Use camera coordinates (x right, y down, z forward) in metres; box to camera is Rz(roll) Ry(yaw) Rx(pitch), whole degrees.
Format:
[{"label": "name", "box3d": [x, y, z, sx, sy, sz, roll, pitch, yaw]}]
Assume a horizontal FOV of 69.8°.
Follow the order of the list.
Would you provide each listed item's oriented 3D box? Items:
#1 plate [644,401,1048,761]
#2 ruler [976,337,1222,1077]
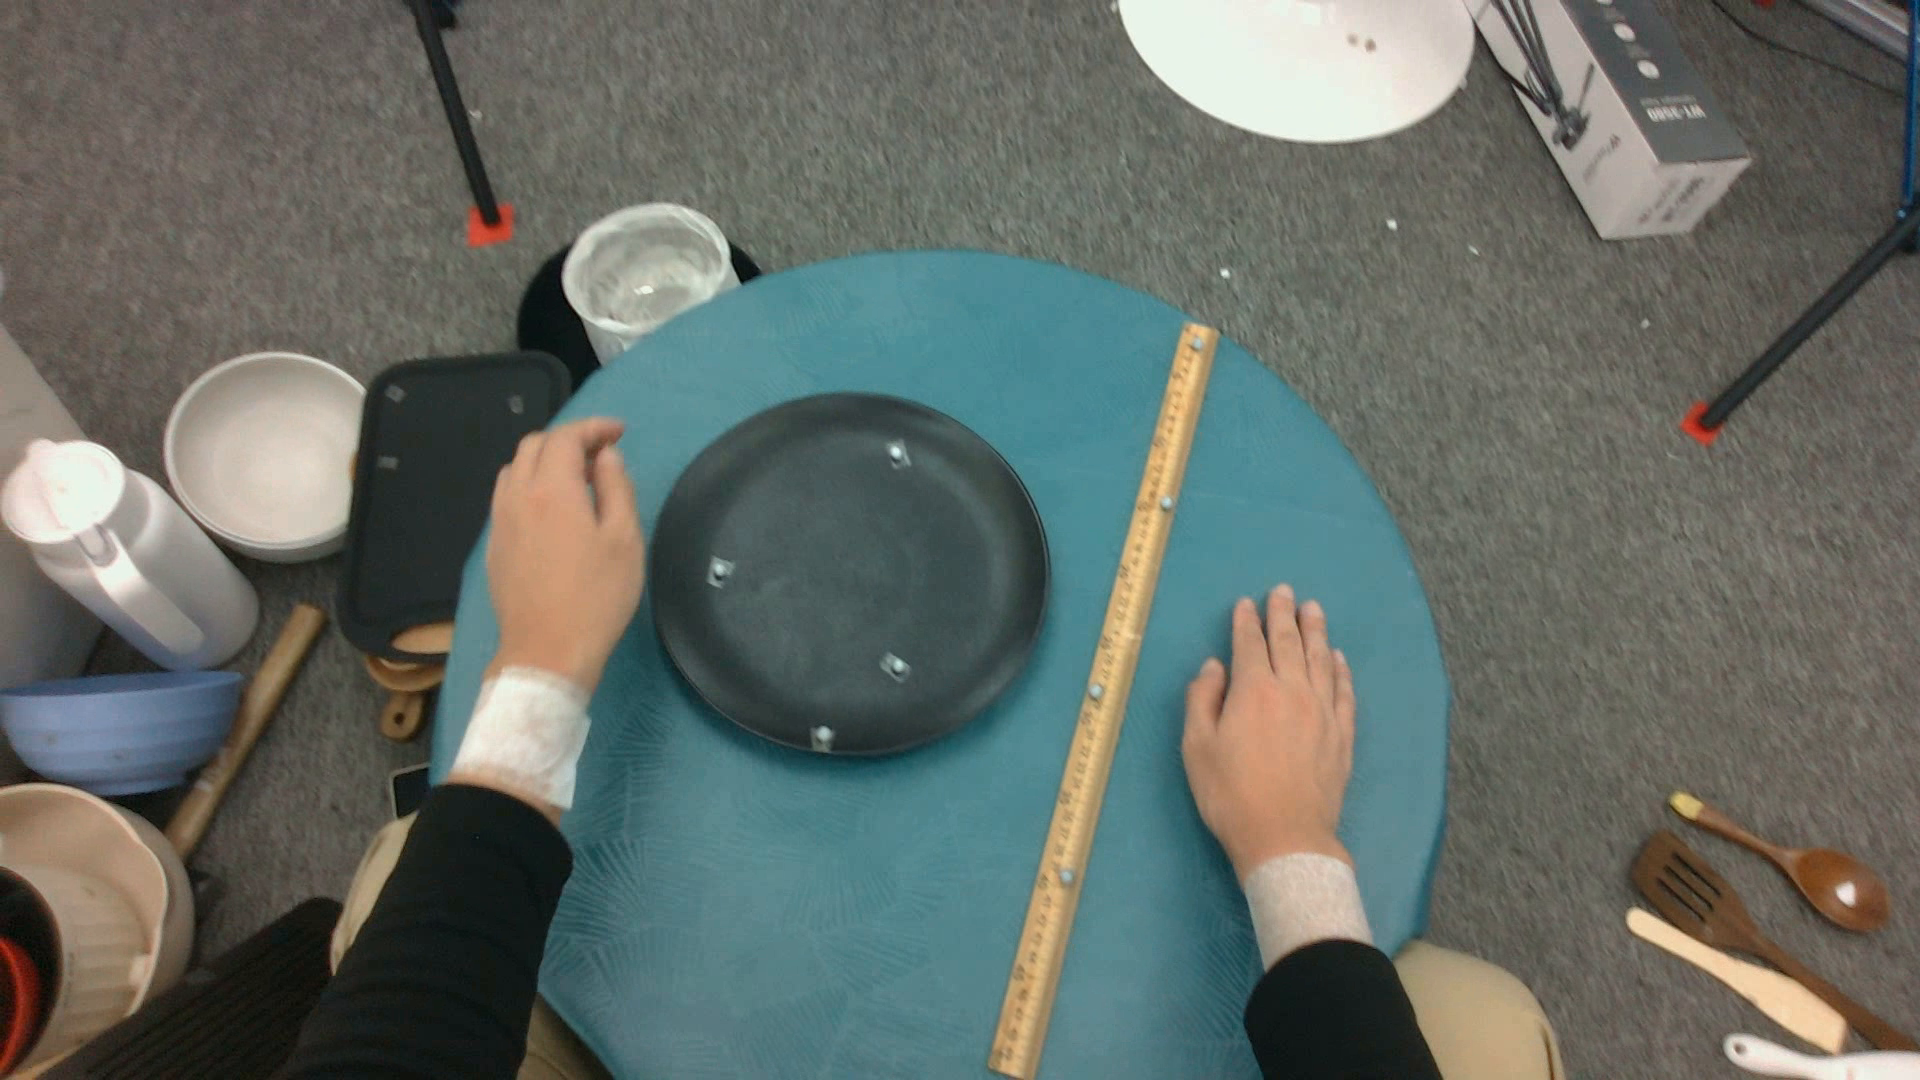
[{"label": "plate", "box3d": [-0.068, 0.021, 0.841, 0.244, 0.023, 0.245, 2, 62, -3]}, {"label": "ruler", "box3d": [0.094, 0.069, 0.837, 0.027, 0.006, 0.502, 16, 62, 7]}]
